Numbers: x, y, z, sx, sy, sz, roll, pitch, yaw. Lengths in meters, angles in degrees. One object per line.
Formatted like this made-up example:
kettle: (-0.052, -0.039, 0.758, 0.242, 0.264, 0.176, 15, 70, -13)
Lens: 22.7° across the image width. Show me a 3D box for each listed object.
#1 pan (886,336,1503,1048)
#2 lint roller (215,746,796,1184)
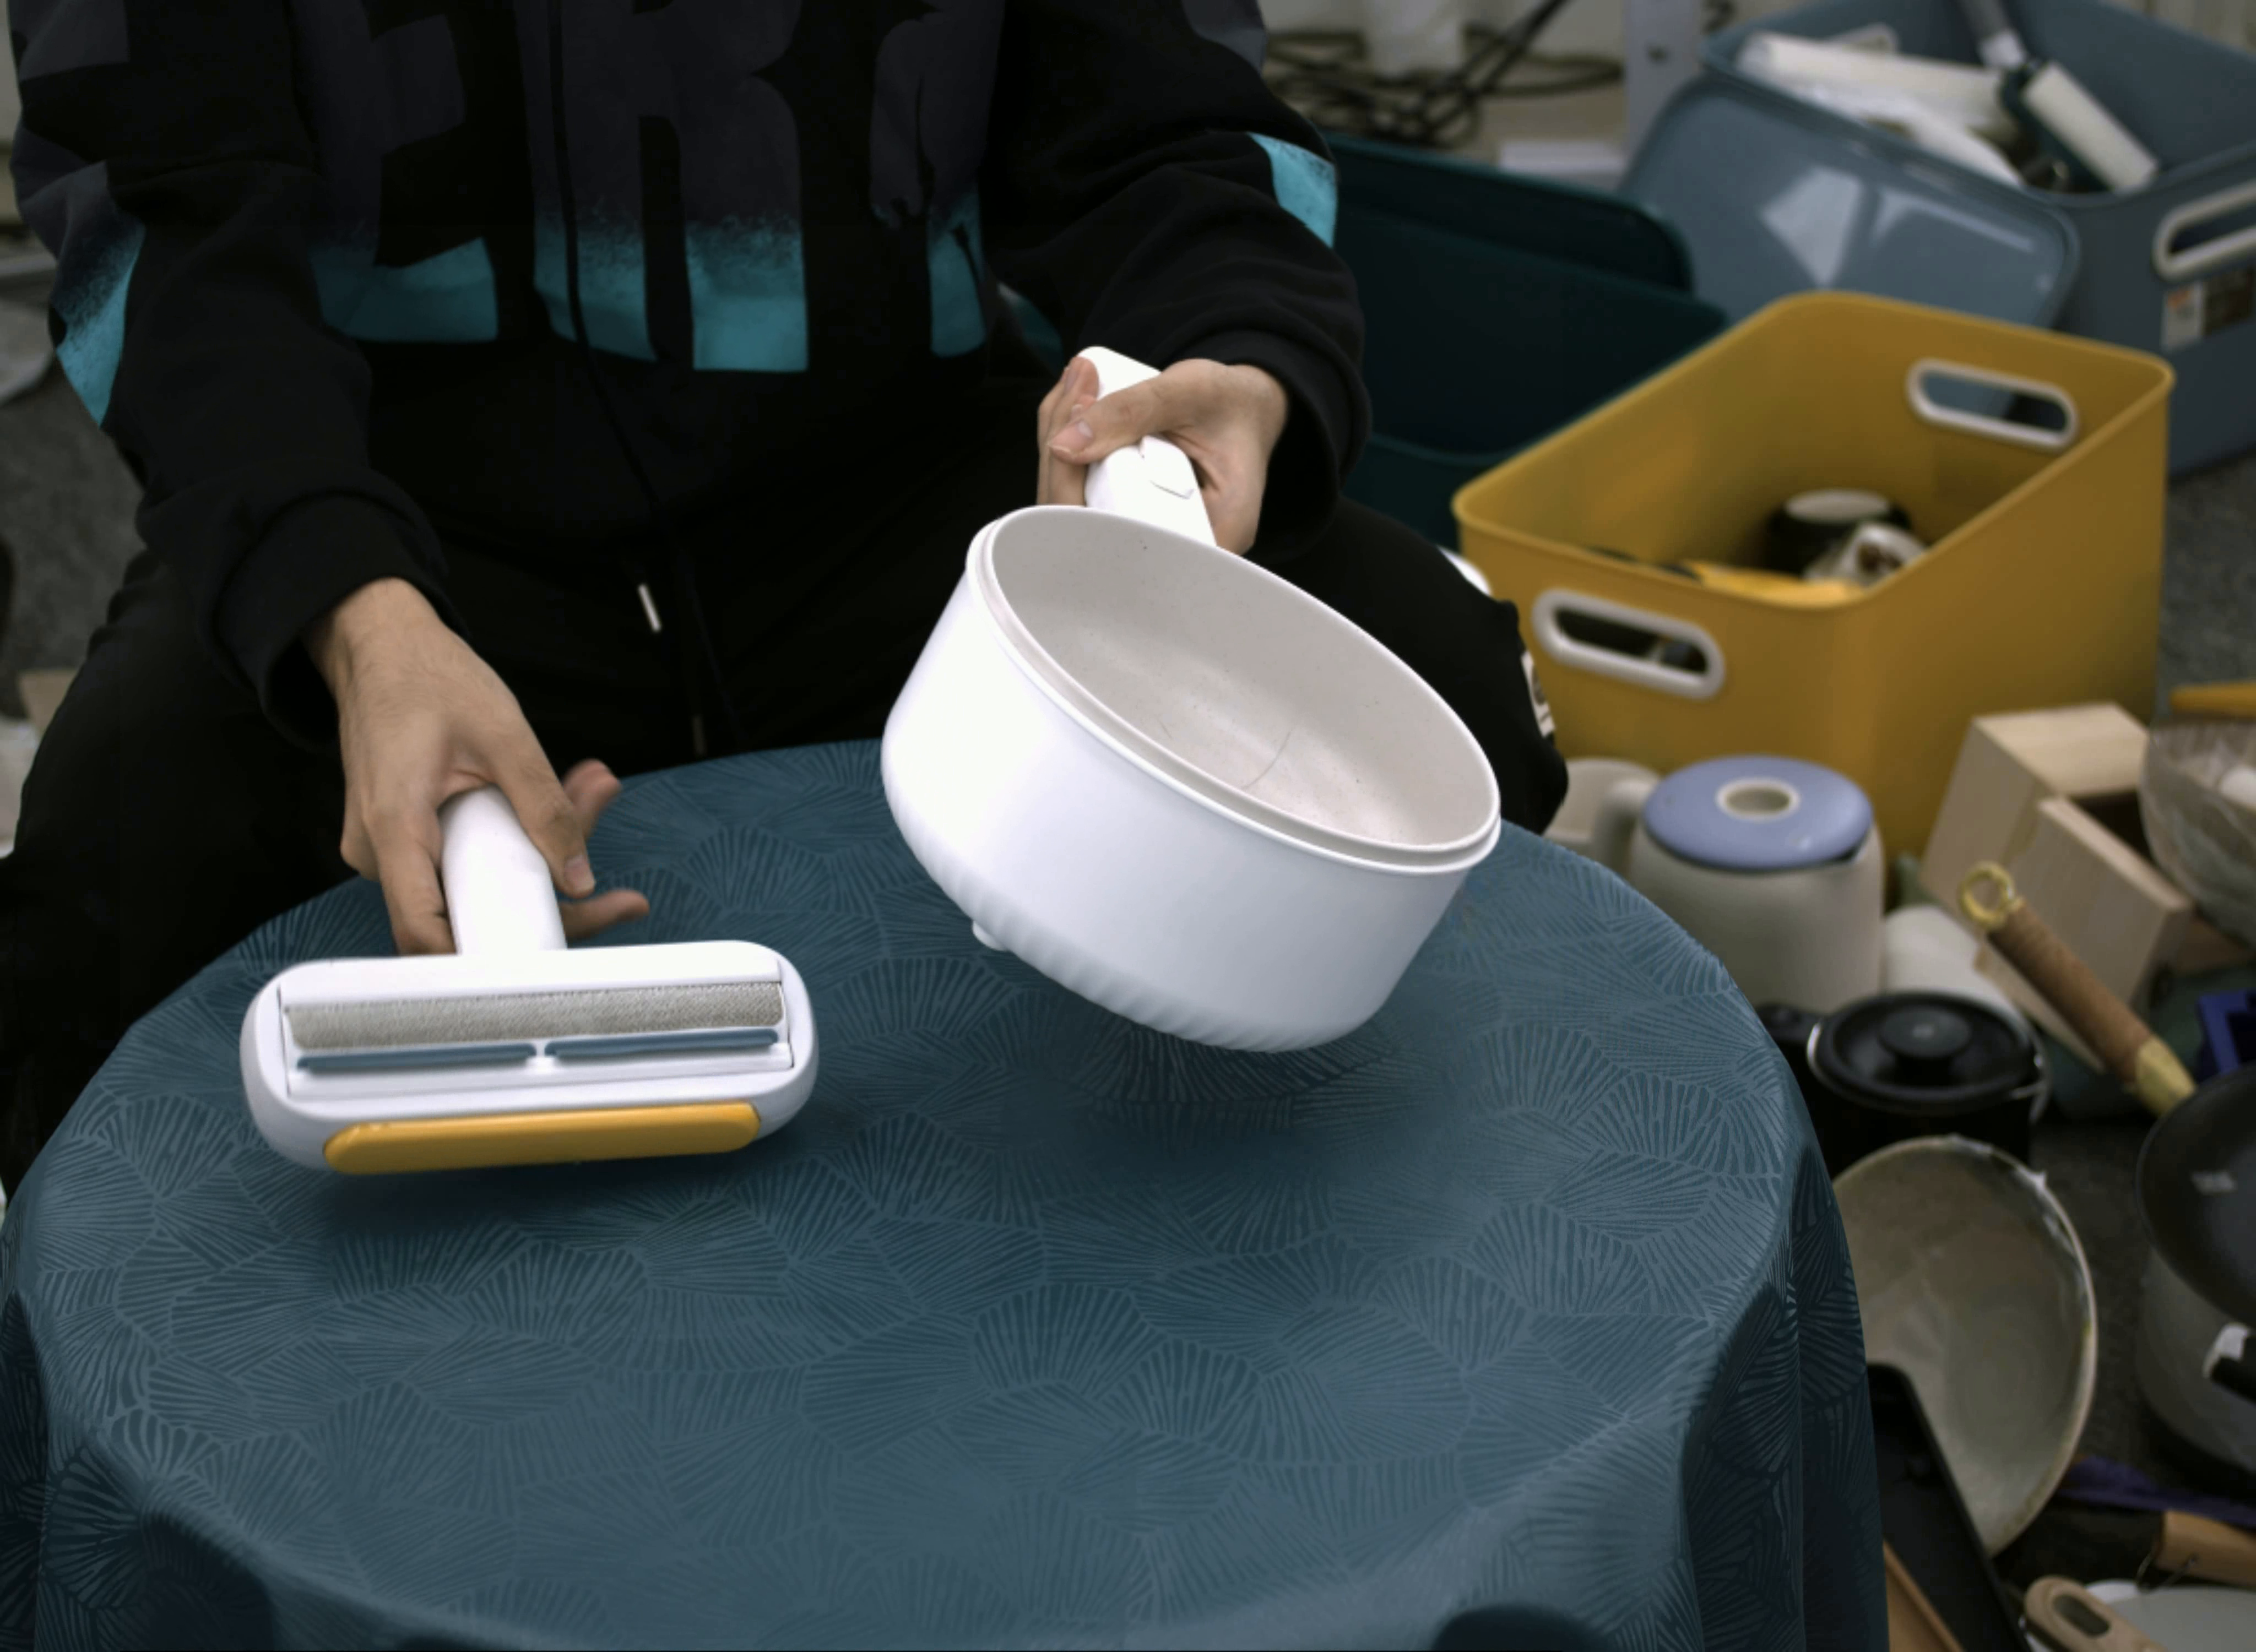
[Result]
pan: (0.007, -0.052, 1.952, 0.200, 0.101, 0.360, 23, 24, -20)
lint roller: (-0.215, 0.038, 1.915, 0.192, 0.073, 0.196, -3, 51, -8)
